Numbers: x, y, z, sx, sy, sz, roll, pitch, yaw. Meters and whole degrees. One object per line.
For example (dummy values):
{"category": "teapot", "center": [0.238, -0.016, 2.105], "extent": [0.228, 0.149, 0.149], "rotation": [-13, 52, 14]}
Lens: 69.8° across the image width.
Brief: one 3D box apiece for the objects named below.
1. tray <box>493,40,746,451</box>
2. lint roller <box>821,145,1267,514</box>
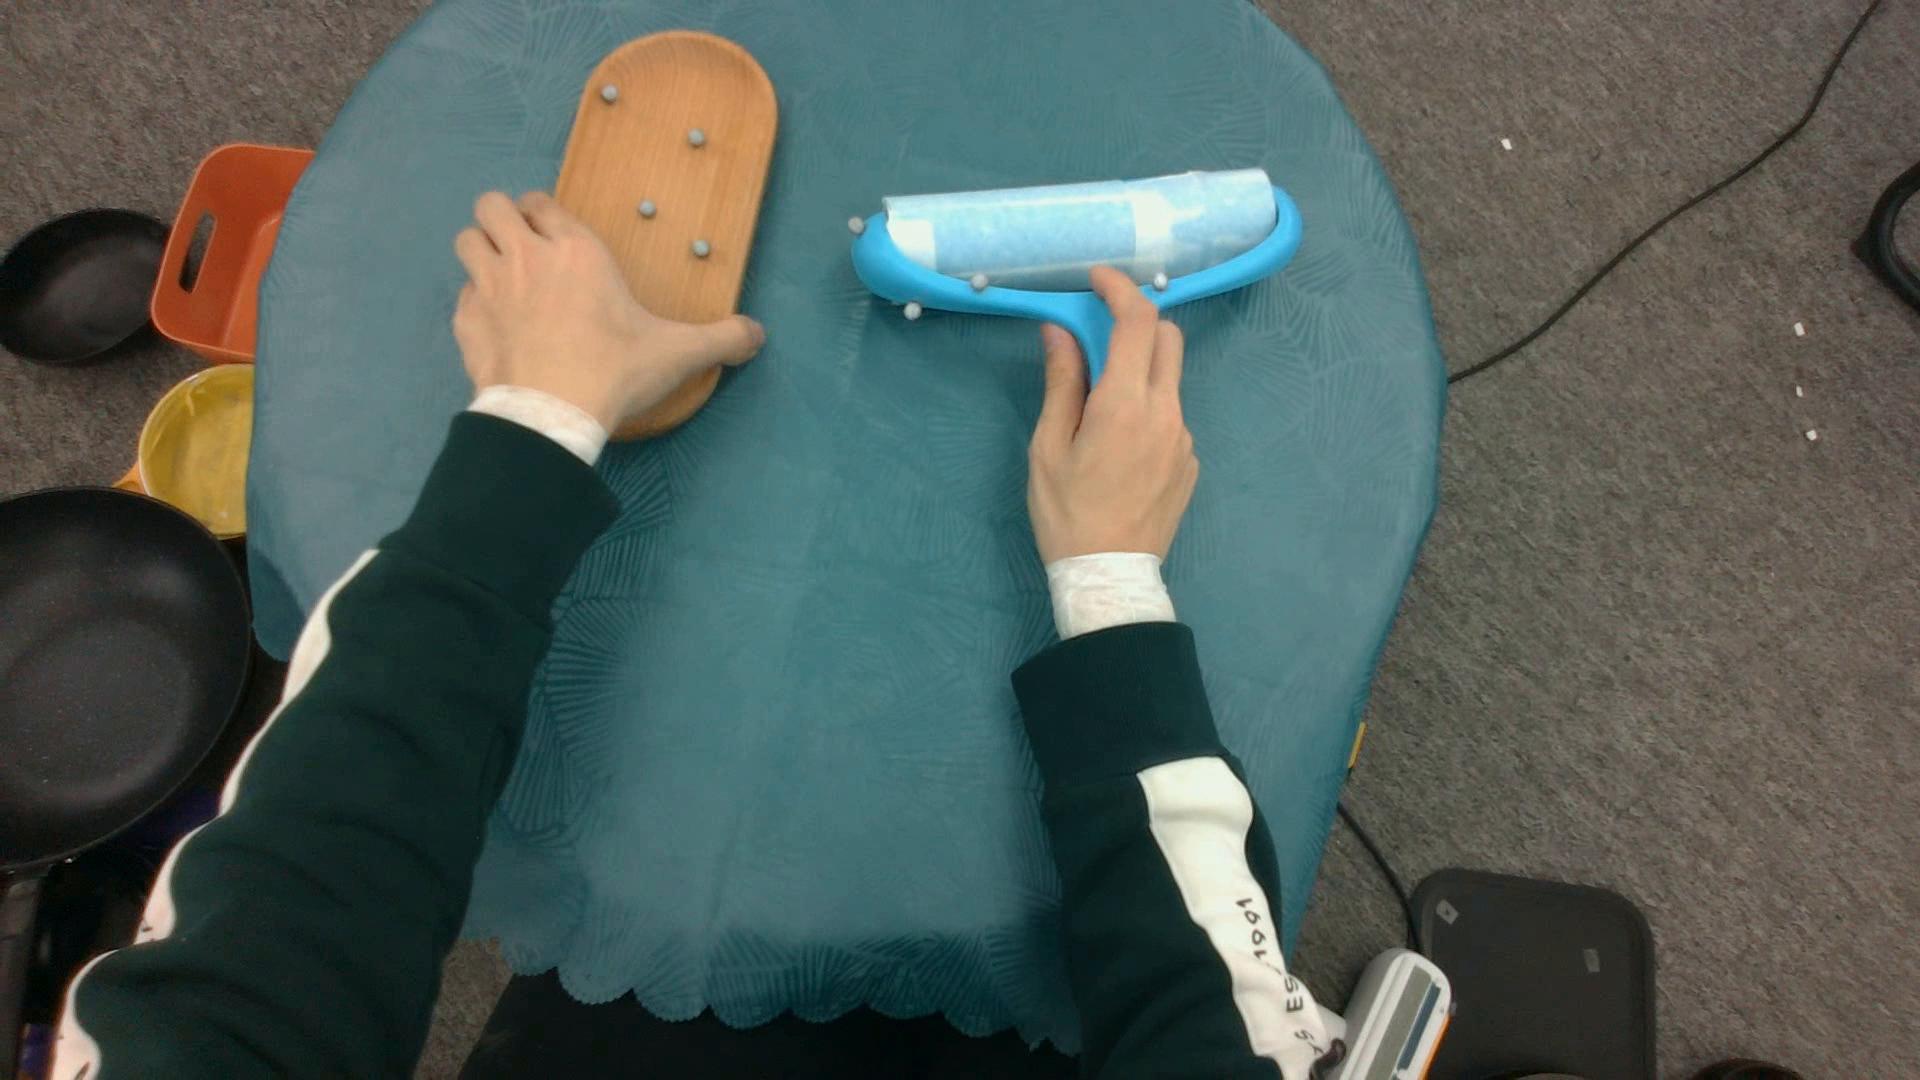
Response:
{"category": "tray", "center": [-0.168, -0.152, 0.692], "extent": [0.101, 0.020, 0.232], "rotation": [6, 72, 1]}
{"category": "lint roller", "center": [0.056, -0.107, 0.682], "extent": [0.229, 0.067, 0.180], "rotation": [-10, 74, -10]}
